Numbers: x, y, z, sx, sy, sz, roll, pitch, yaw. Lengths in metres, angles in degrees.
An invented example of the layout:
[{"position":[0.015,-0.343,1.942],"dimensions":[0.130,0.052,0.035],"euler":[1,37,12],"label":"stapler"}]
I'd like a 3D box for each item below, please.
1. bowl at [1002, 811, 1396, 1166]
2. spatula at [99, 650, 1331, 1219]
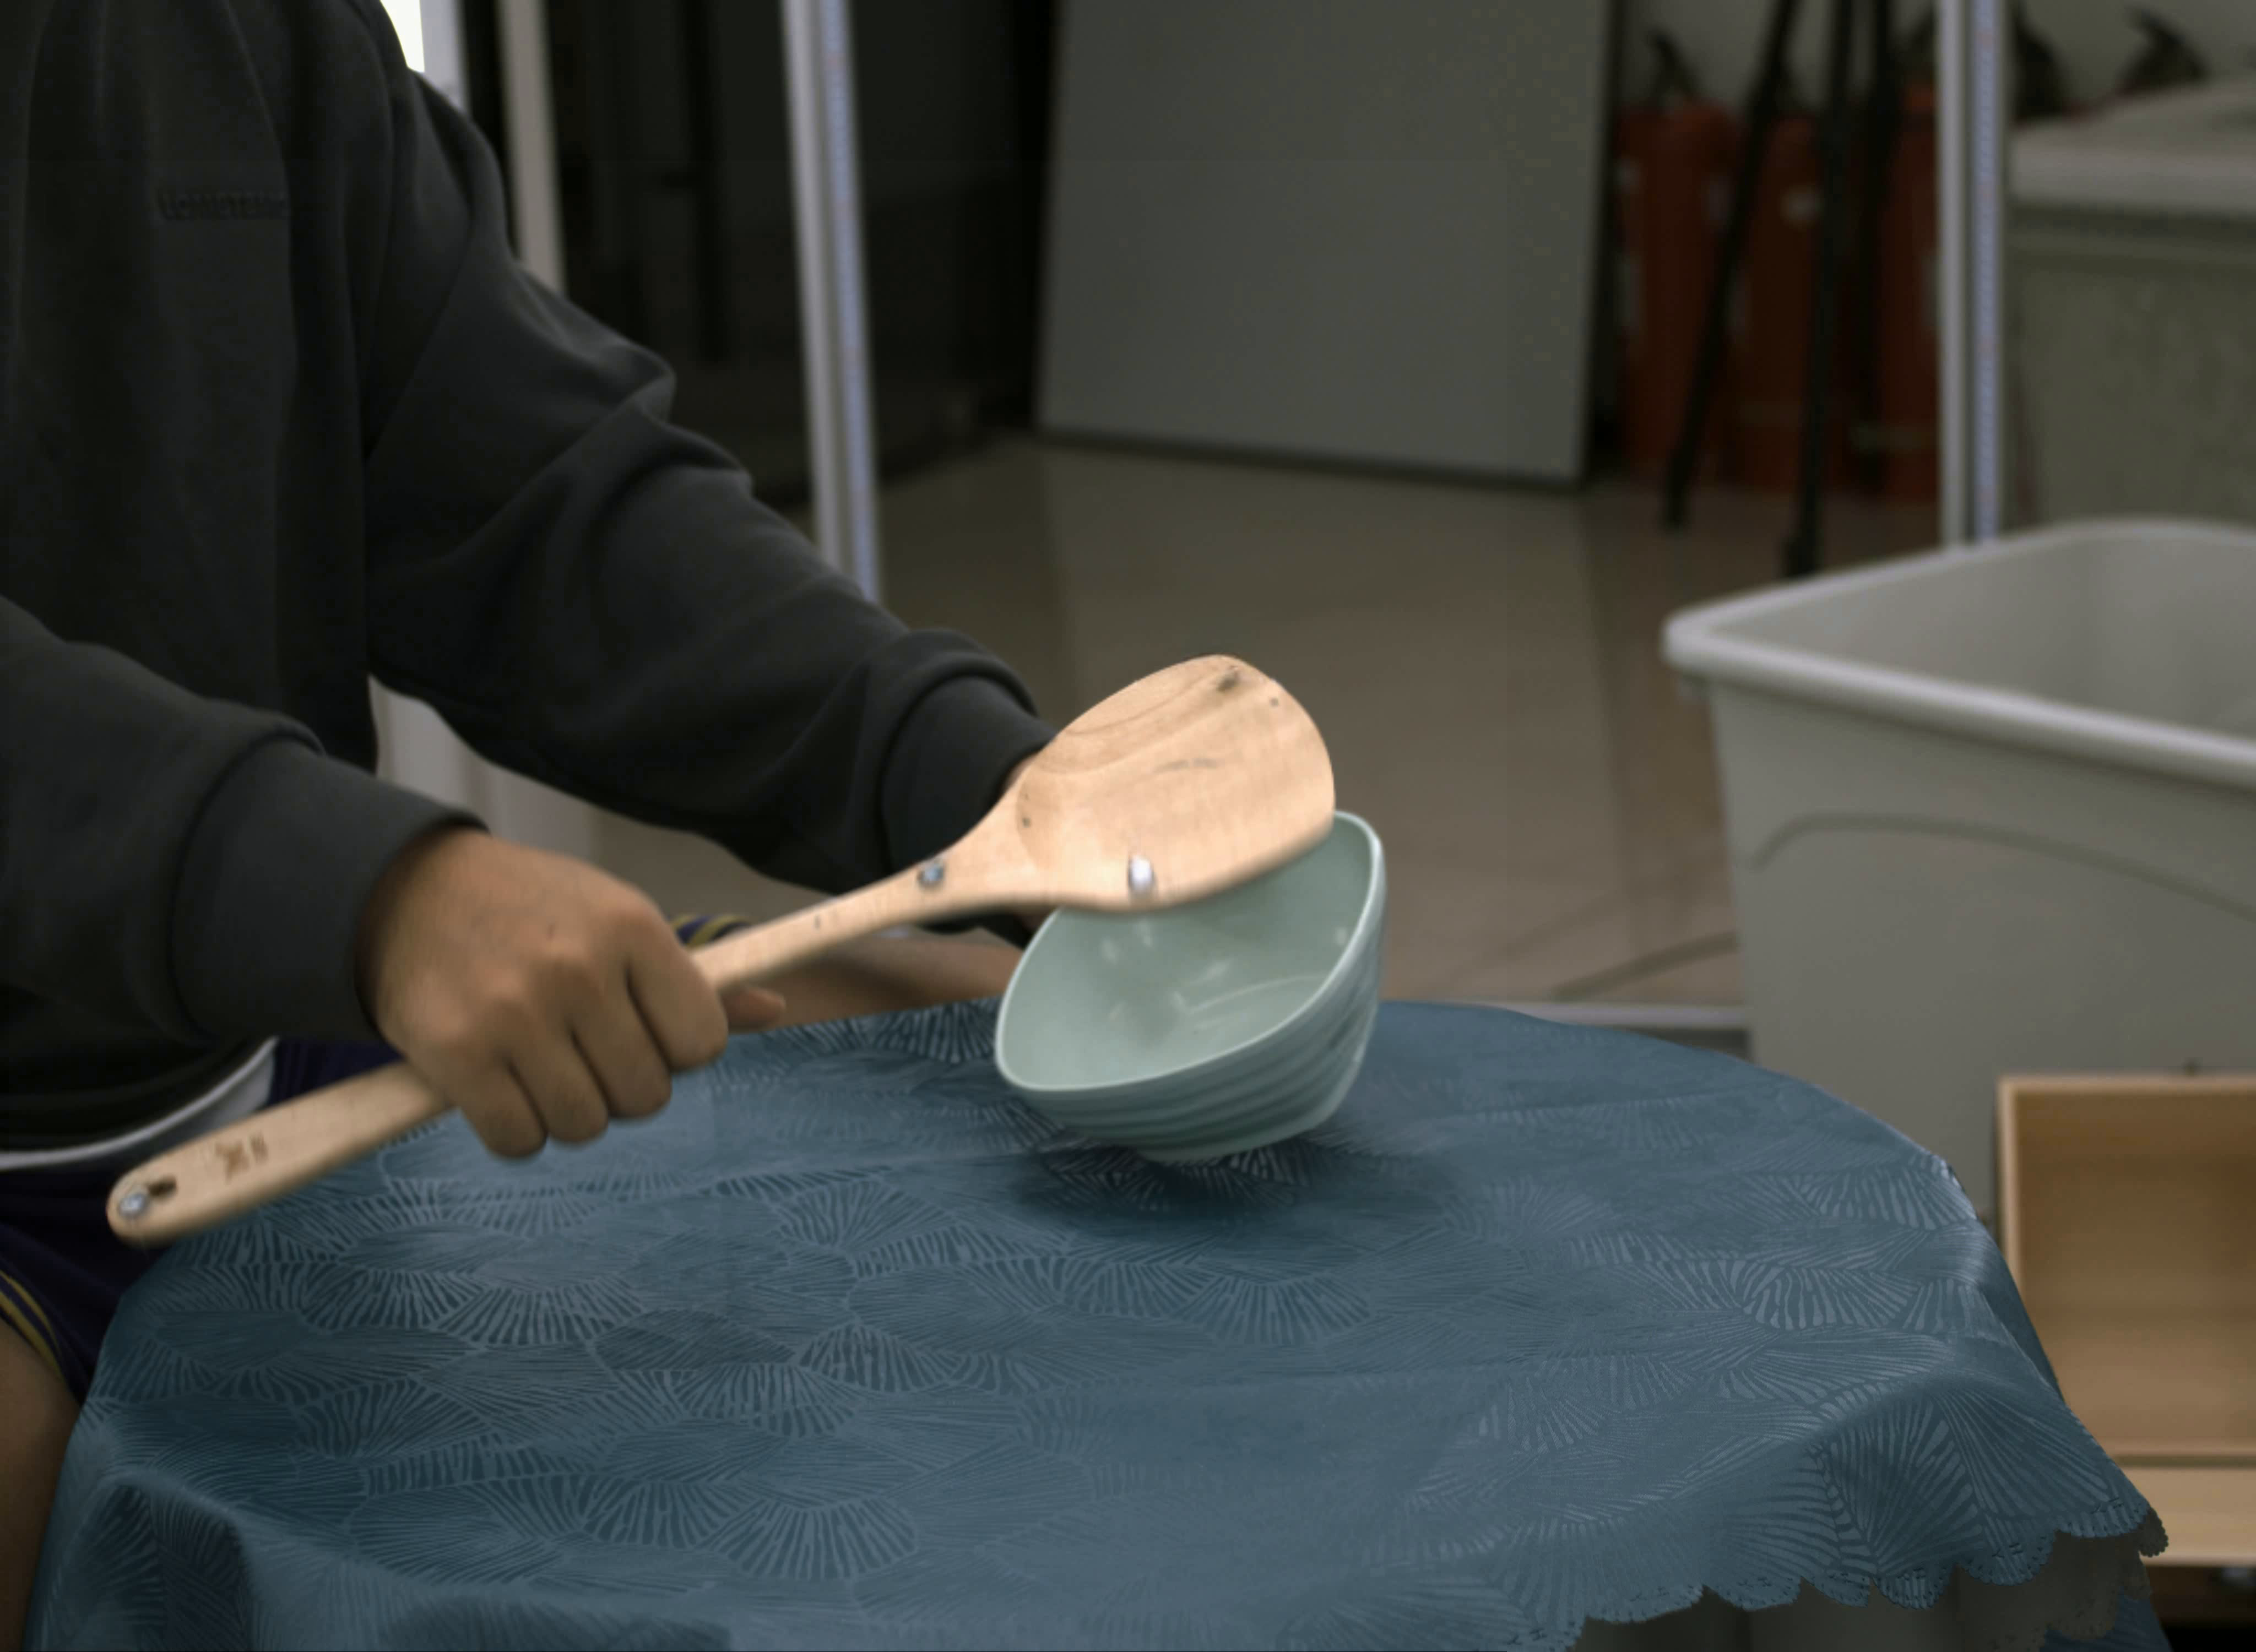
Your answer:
[{"position":[0.033,0.063,1.800],"dimensions":[0.151,0.058,0.152],"euler":[-22,30,12],"label":"bowl"},{"position":[-0.120,0.038,1.600],"dimensions":[0.385,0.018,0.097],"euler":[-22,34,-9],"label":"spatula"}]
